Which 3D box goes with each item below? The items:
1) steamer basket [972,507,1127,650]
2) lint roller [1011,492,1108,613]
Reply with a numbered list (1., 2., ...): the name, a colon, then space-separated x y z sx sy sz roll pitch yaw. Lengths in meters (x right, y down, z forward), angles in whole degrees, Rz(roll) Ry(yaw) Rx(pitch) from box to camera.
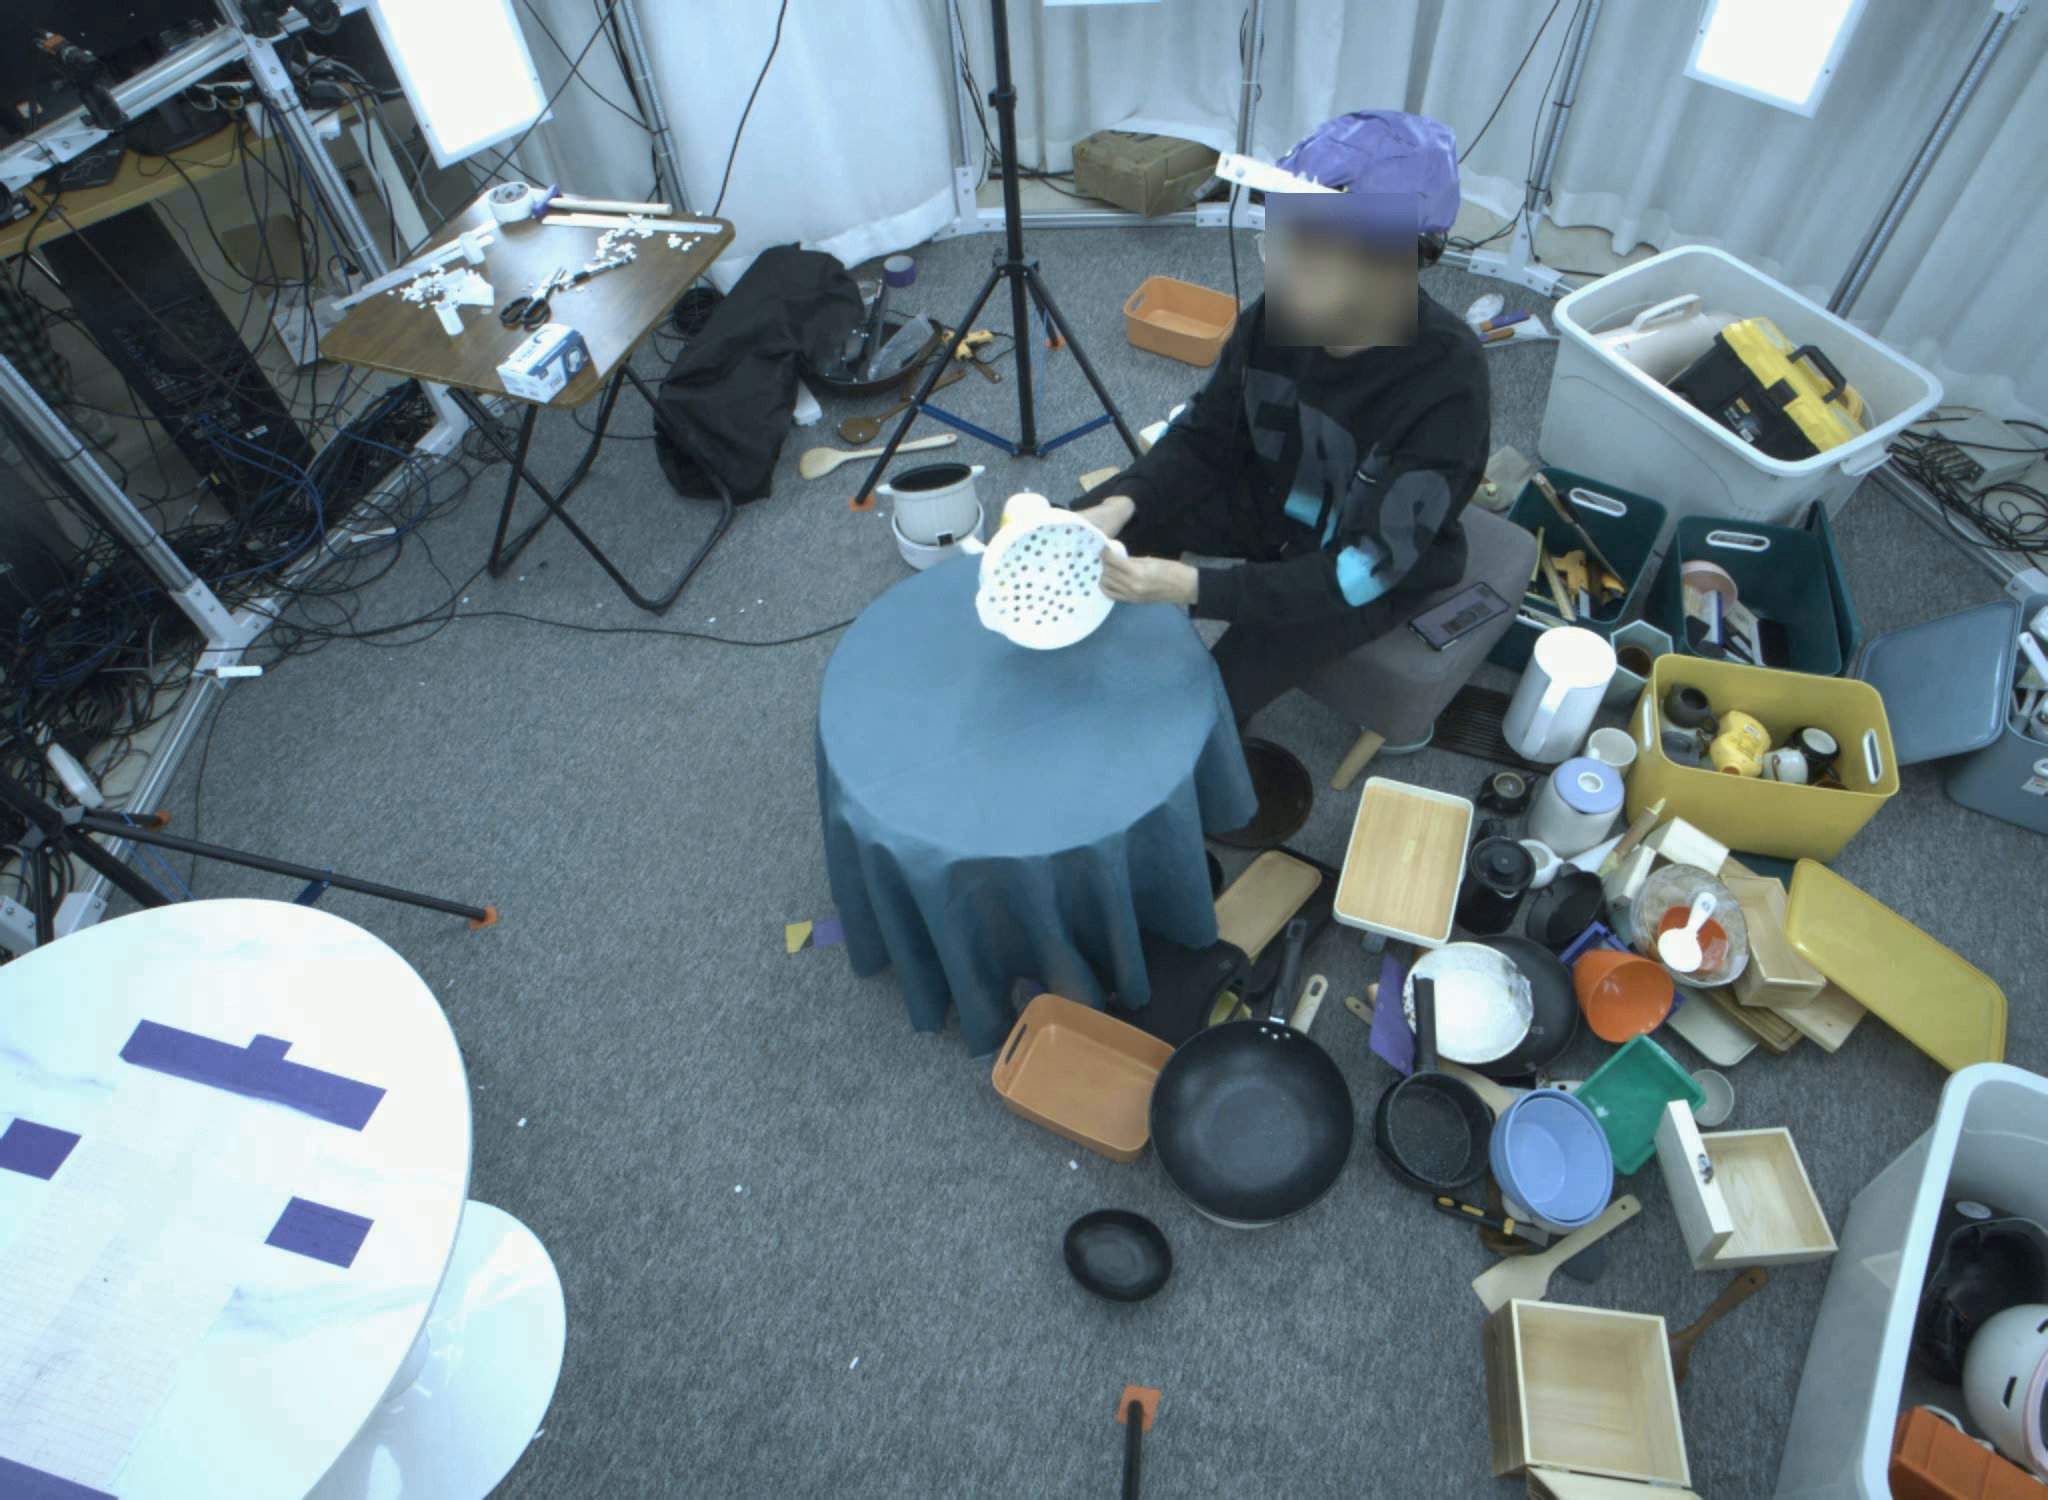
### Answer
1. steamer basket: 0.029 -0.246 1.758 0.231 0.205 0.068 -22 36 -7
2. lint roller: 0.056 -0.300 1.834 0.196 0.194 0.072 -13 35 -32
